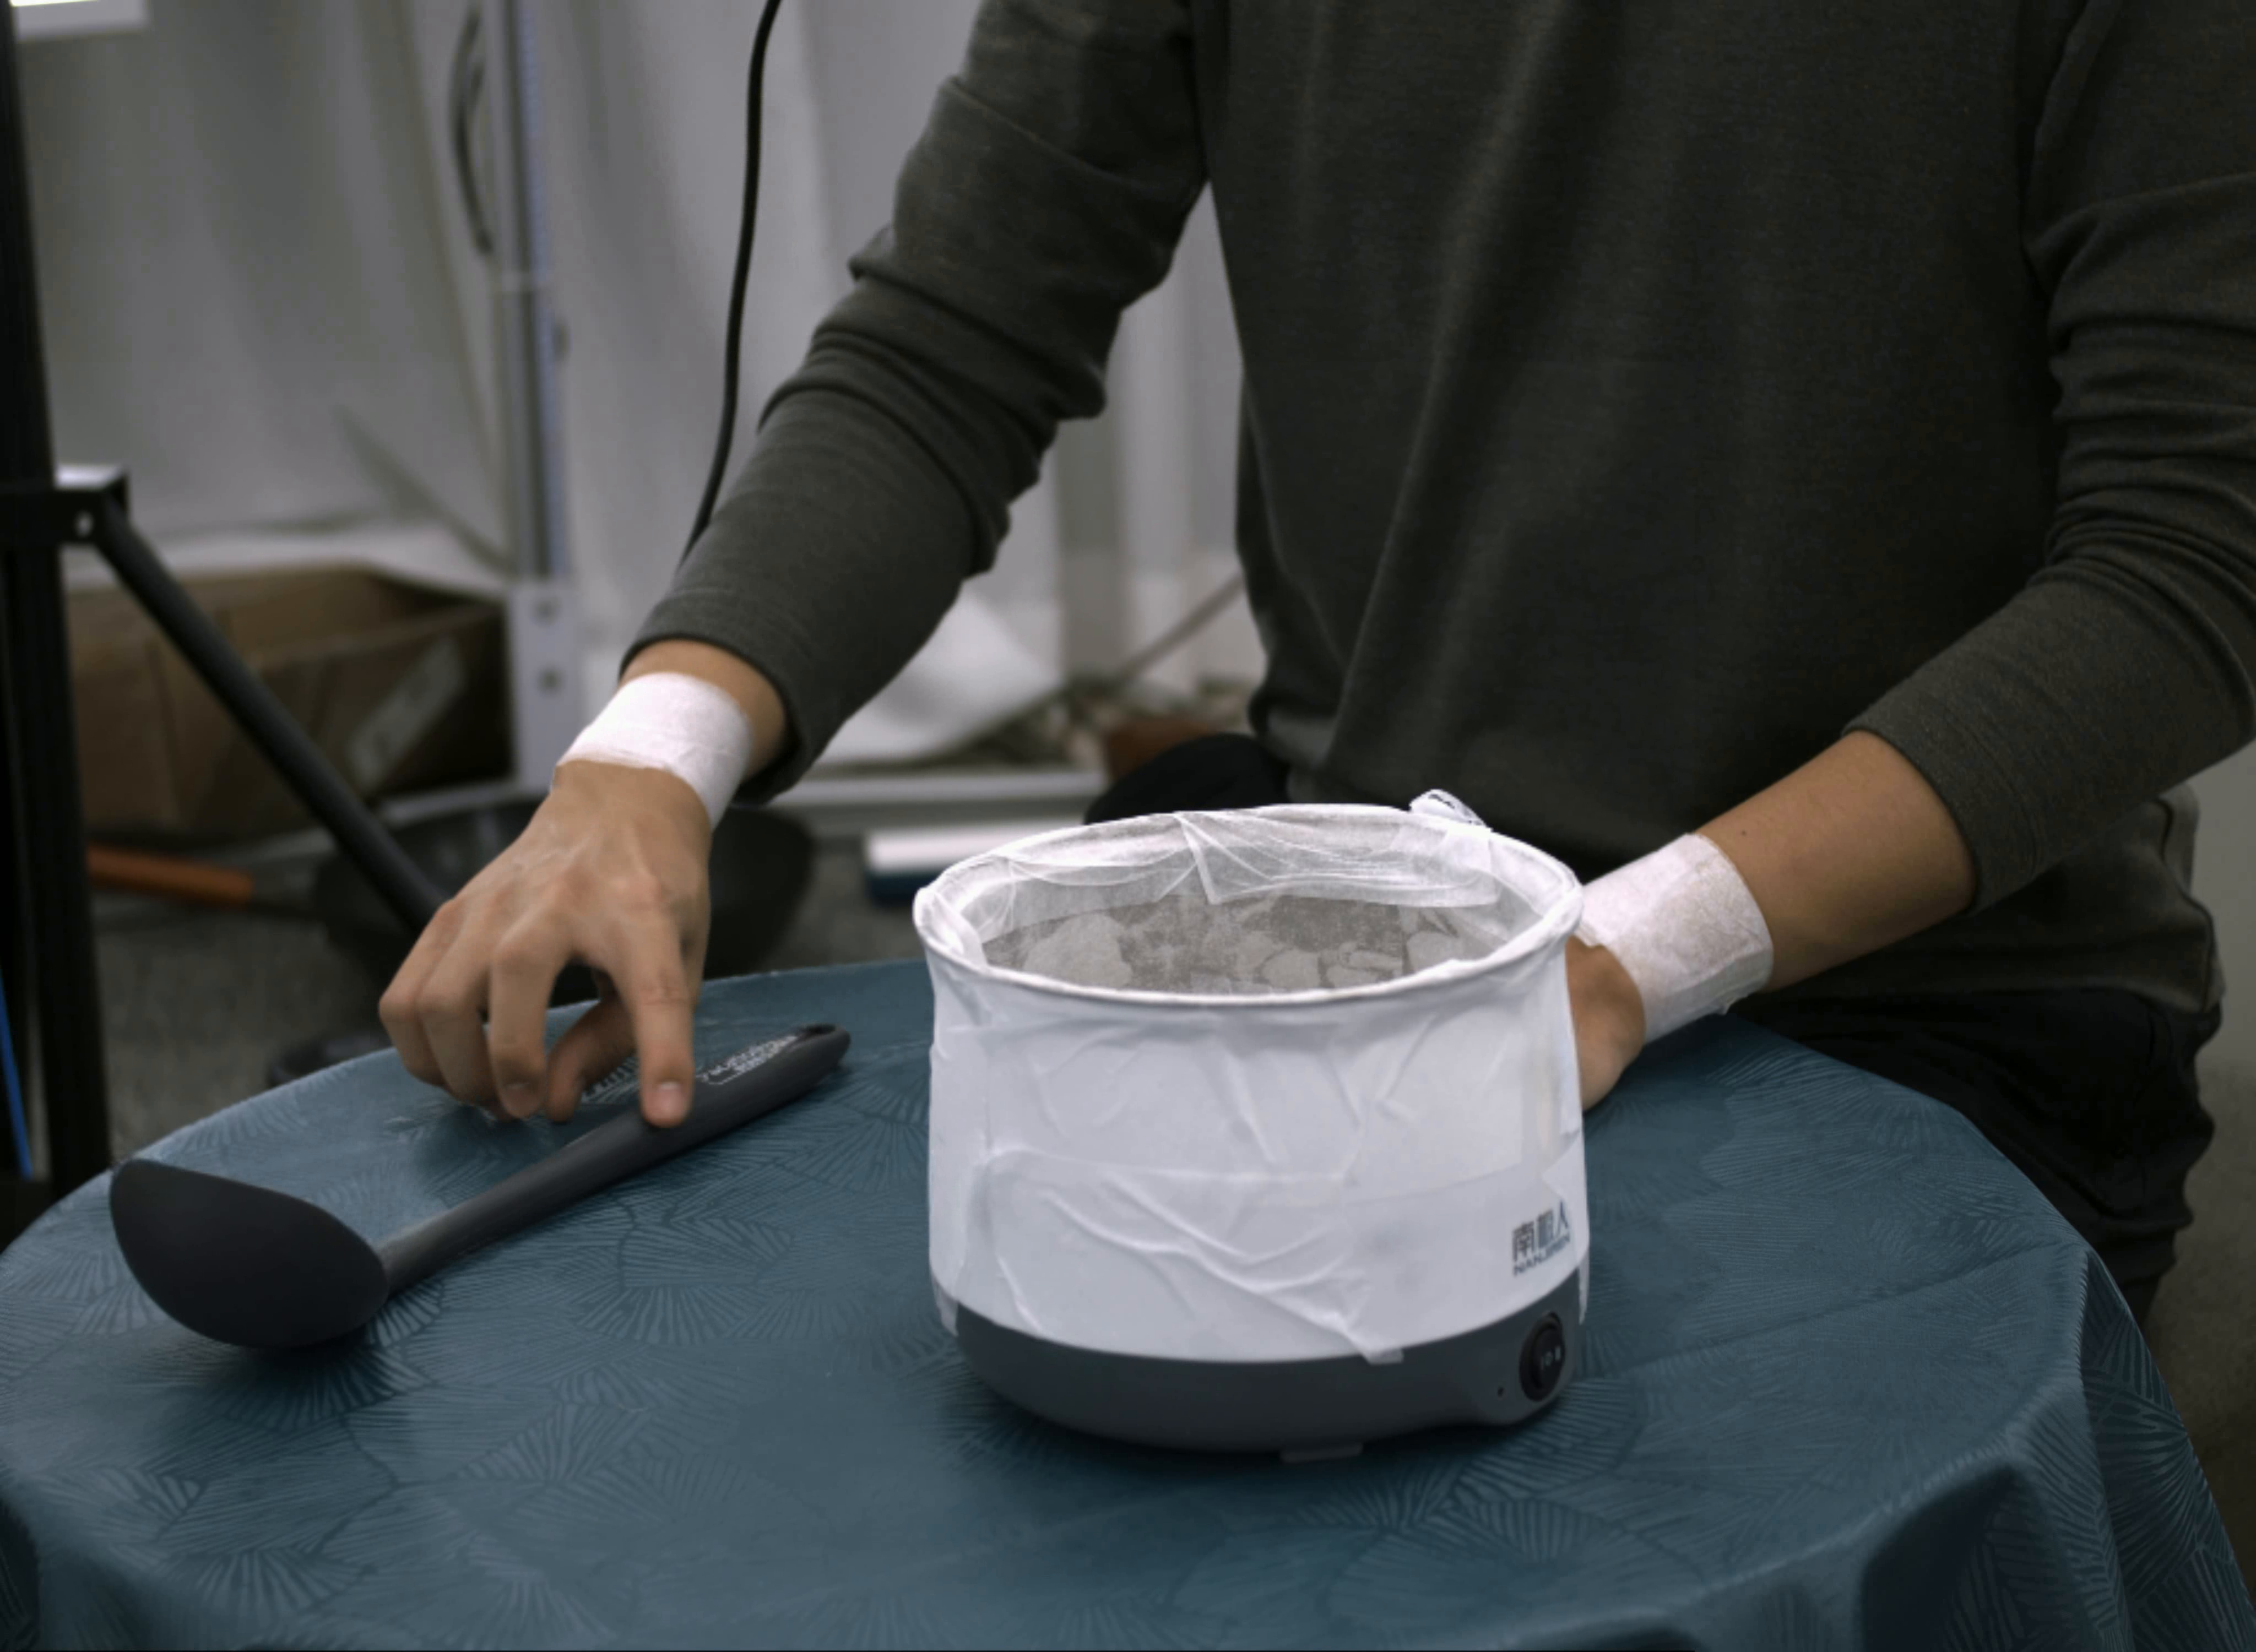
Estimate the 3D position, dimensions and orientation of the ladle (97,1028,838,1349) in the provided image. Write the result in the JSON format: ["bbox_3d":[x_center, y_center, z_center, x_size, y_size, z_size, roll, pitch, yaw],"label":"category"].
[{"bbox_3d":[-0.175,0.085,1.554,0.088,0.064,0.308,14,22,29],"label":"ladle"}]

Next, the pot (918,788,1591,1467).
[{"bbox_3d":[0.049,0.073,1.427,0.182,0.136,0.229,8,19,32],"label":"pot"}]
